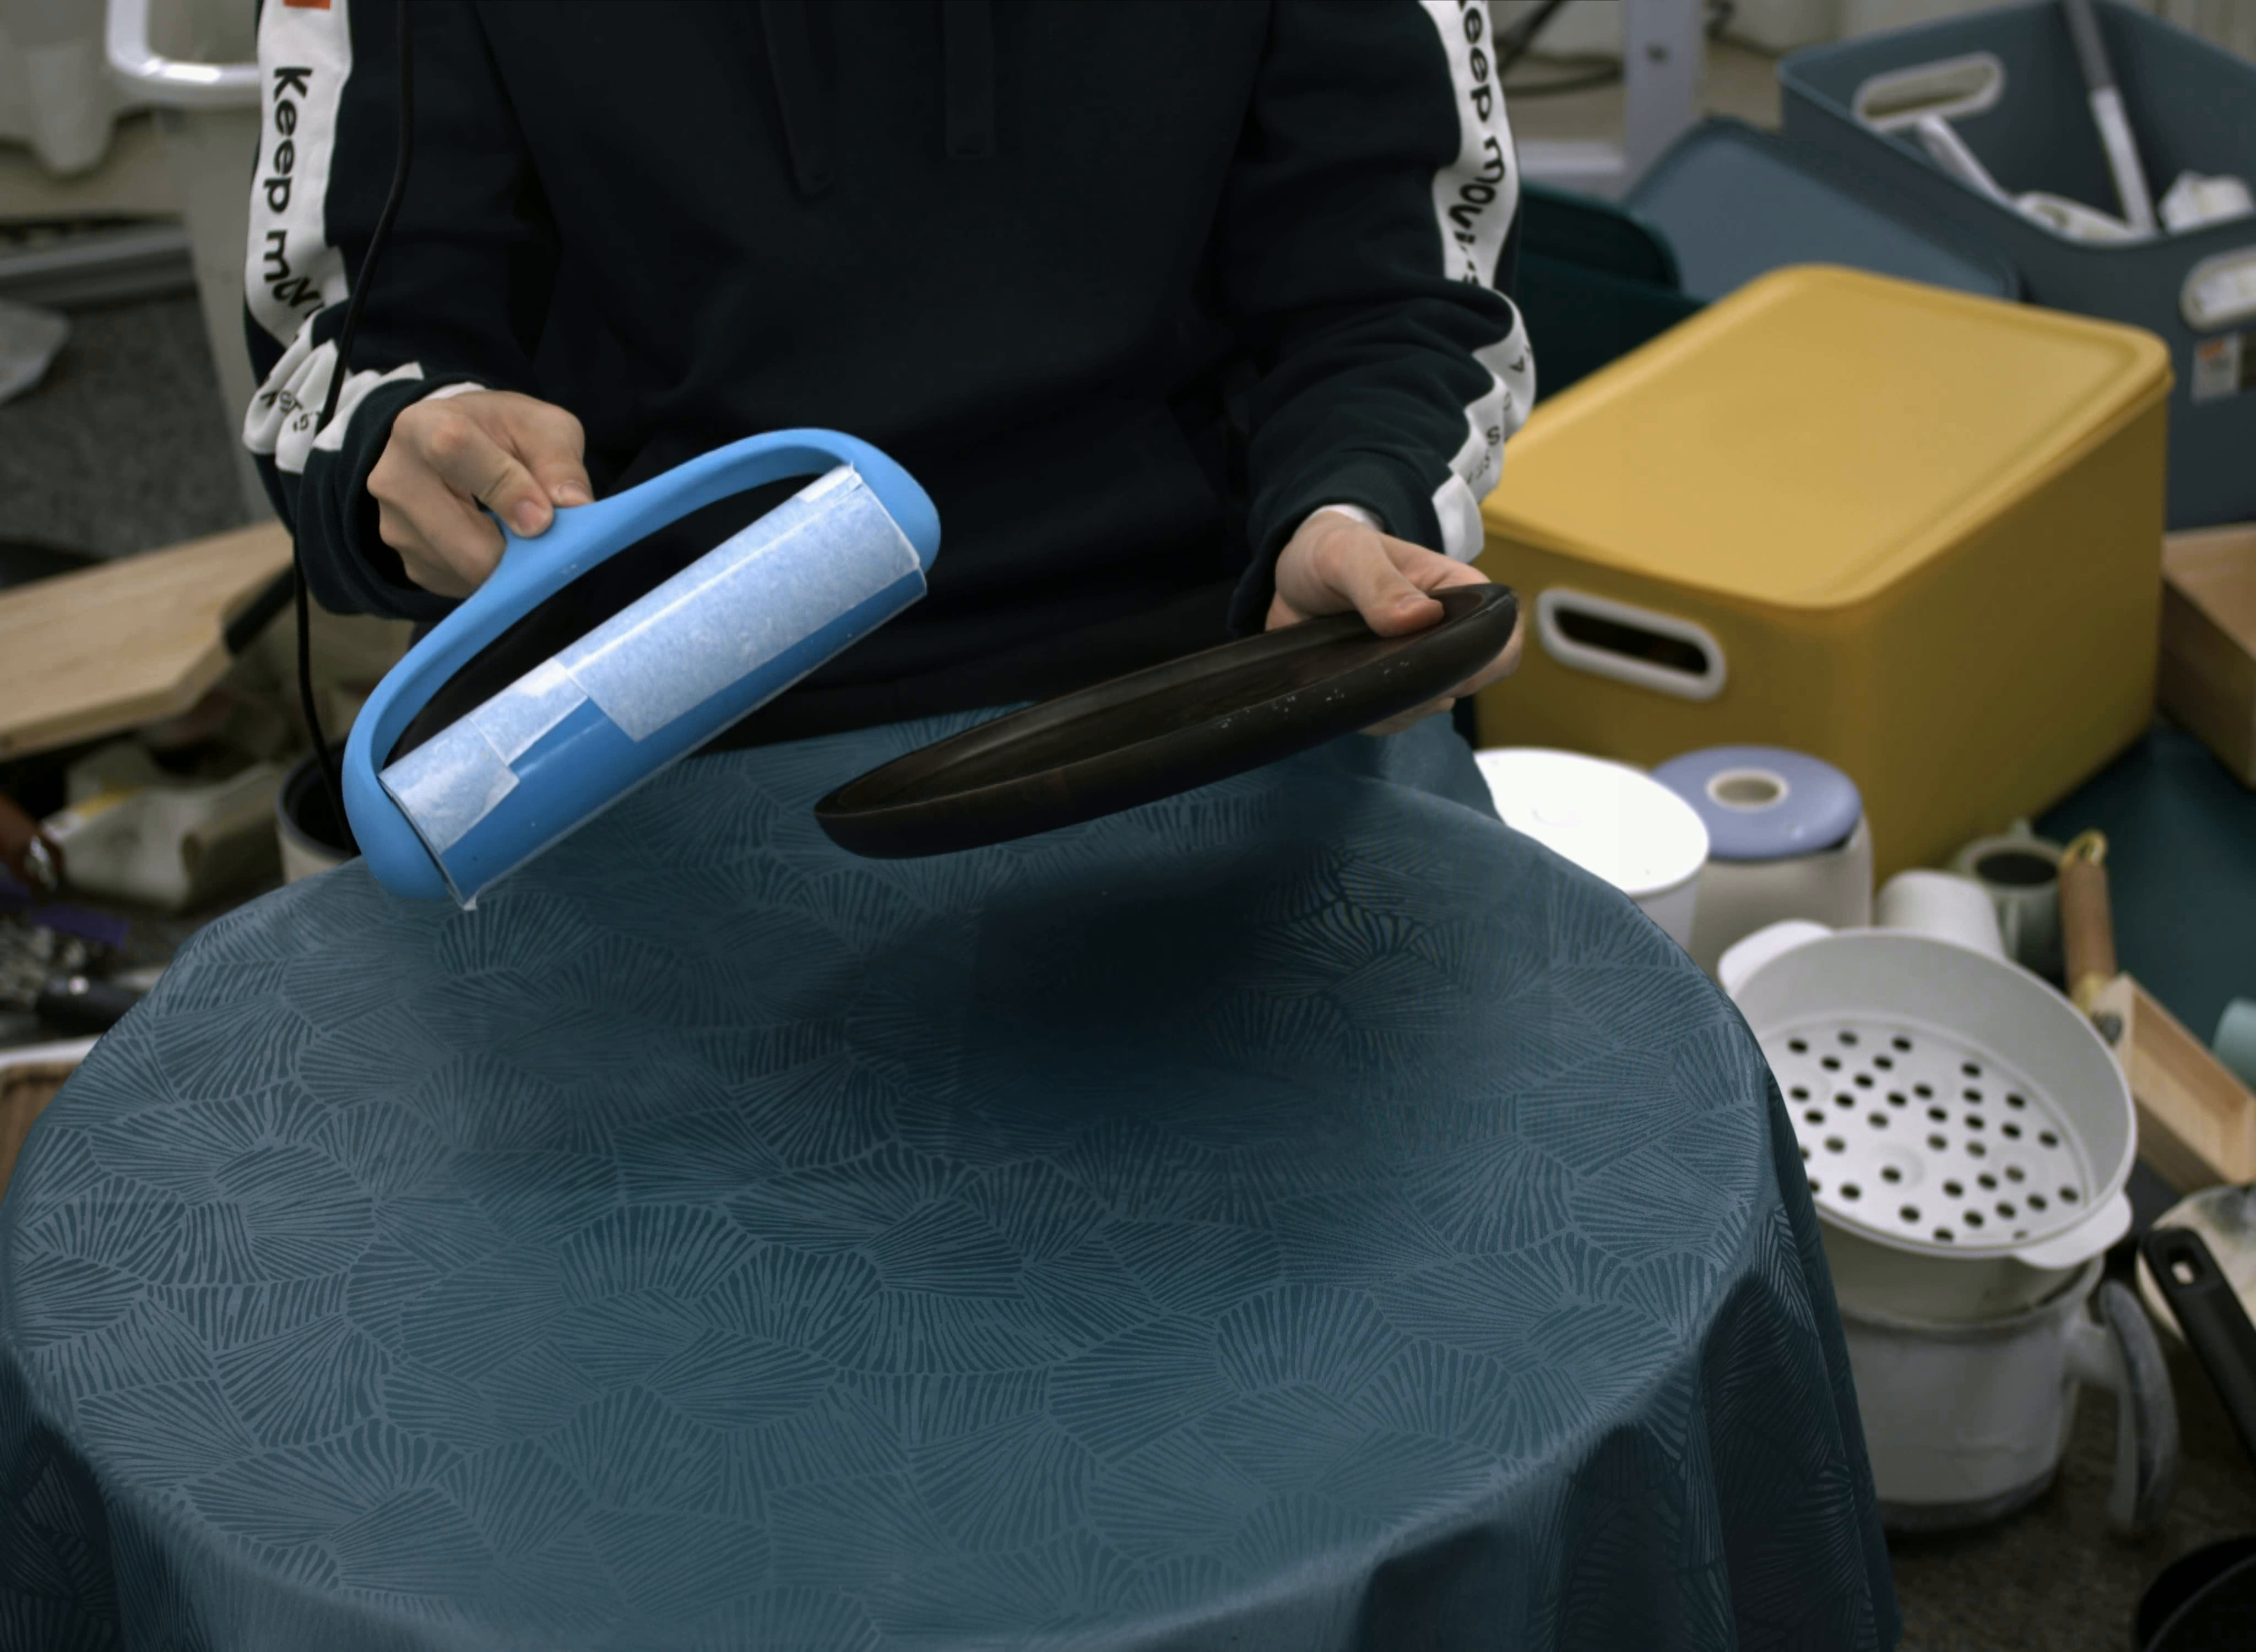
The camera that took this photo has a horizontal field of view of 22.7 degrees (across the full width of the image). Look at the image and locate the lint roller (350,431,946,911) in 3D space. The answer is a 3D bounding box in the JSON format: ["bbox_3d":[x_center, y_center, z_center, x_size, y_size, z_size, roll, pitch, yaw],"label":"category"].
[{"bbox_3d":[-0.191,-0.076,1.950,0.230,0.067,0.181,-37,45,-12],"label":"lint roller"}]

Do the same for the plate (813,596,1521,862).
[{"bbox_3d":[0.015,-0.034,1.930,0.253,0.029,0.256,-17,7,2],"label":"plate"}]
